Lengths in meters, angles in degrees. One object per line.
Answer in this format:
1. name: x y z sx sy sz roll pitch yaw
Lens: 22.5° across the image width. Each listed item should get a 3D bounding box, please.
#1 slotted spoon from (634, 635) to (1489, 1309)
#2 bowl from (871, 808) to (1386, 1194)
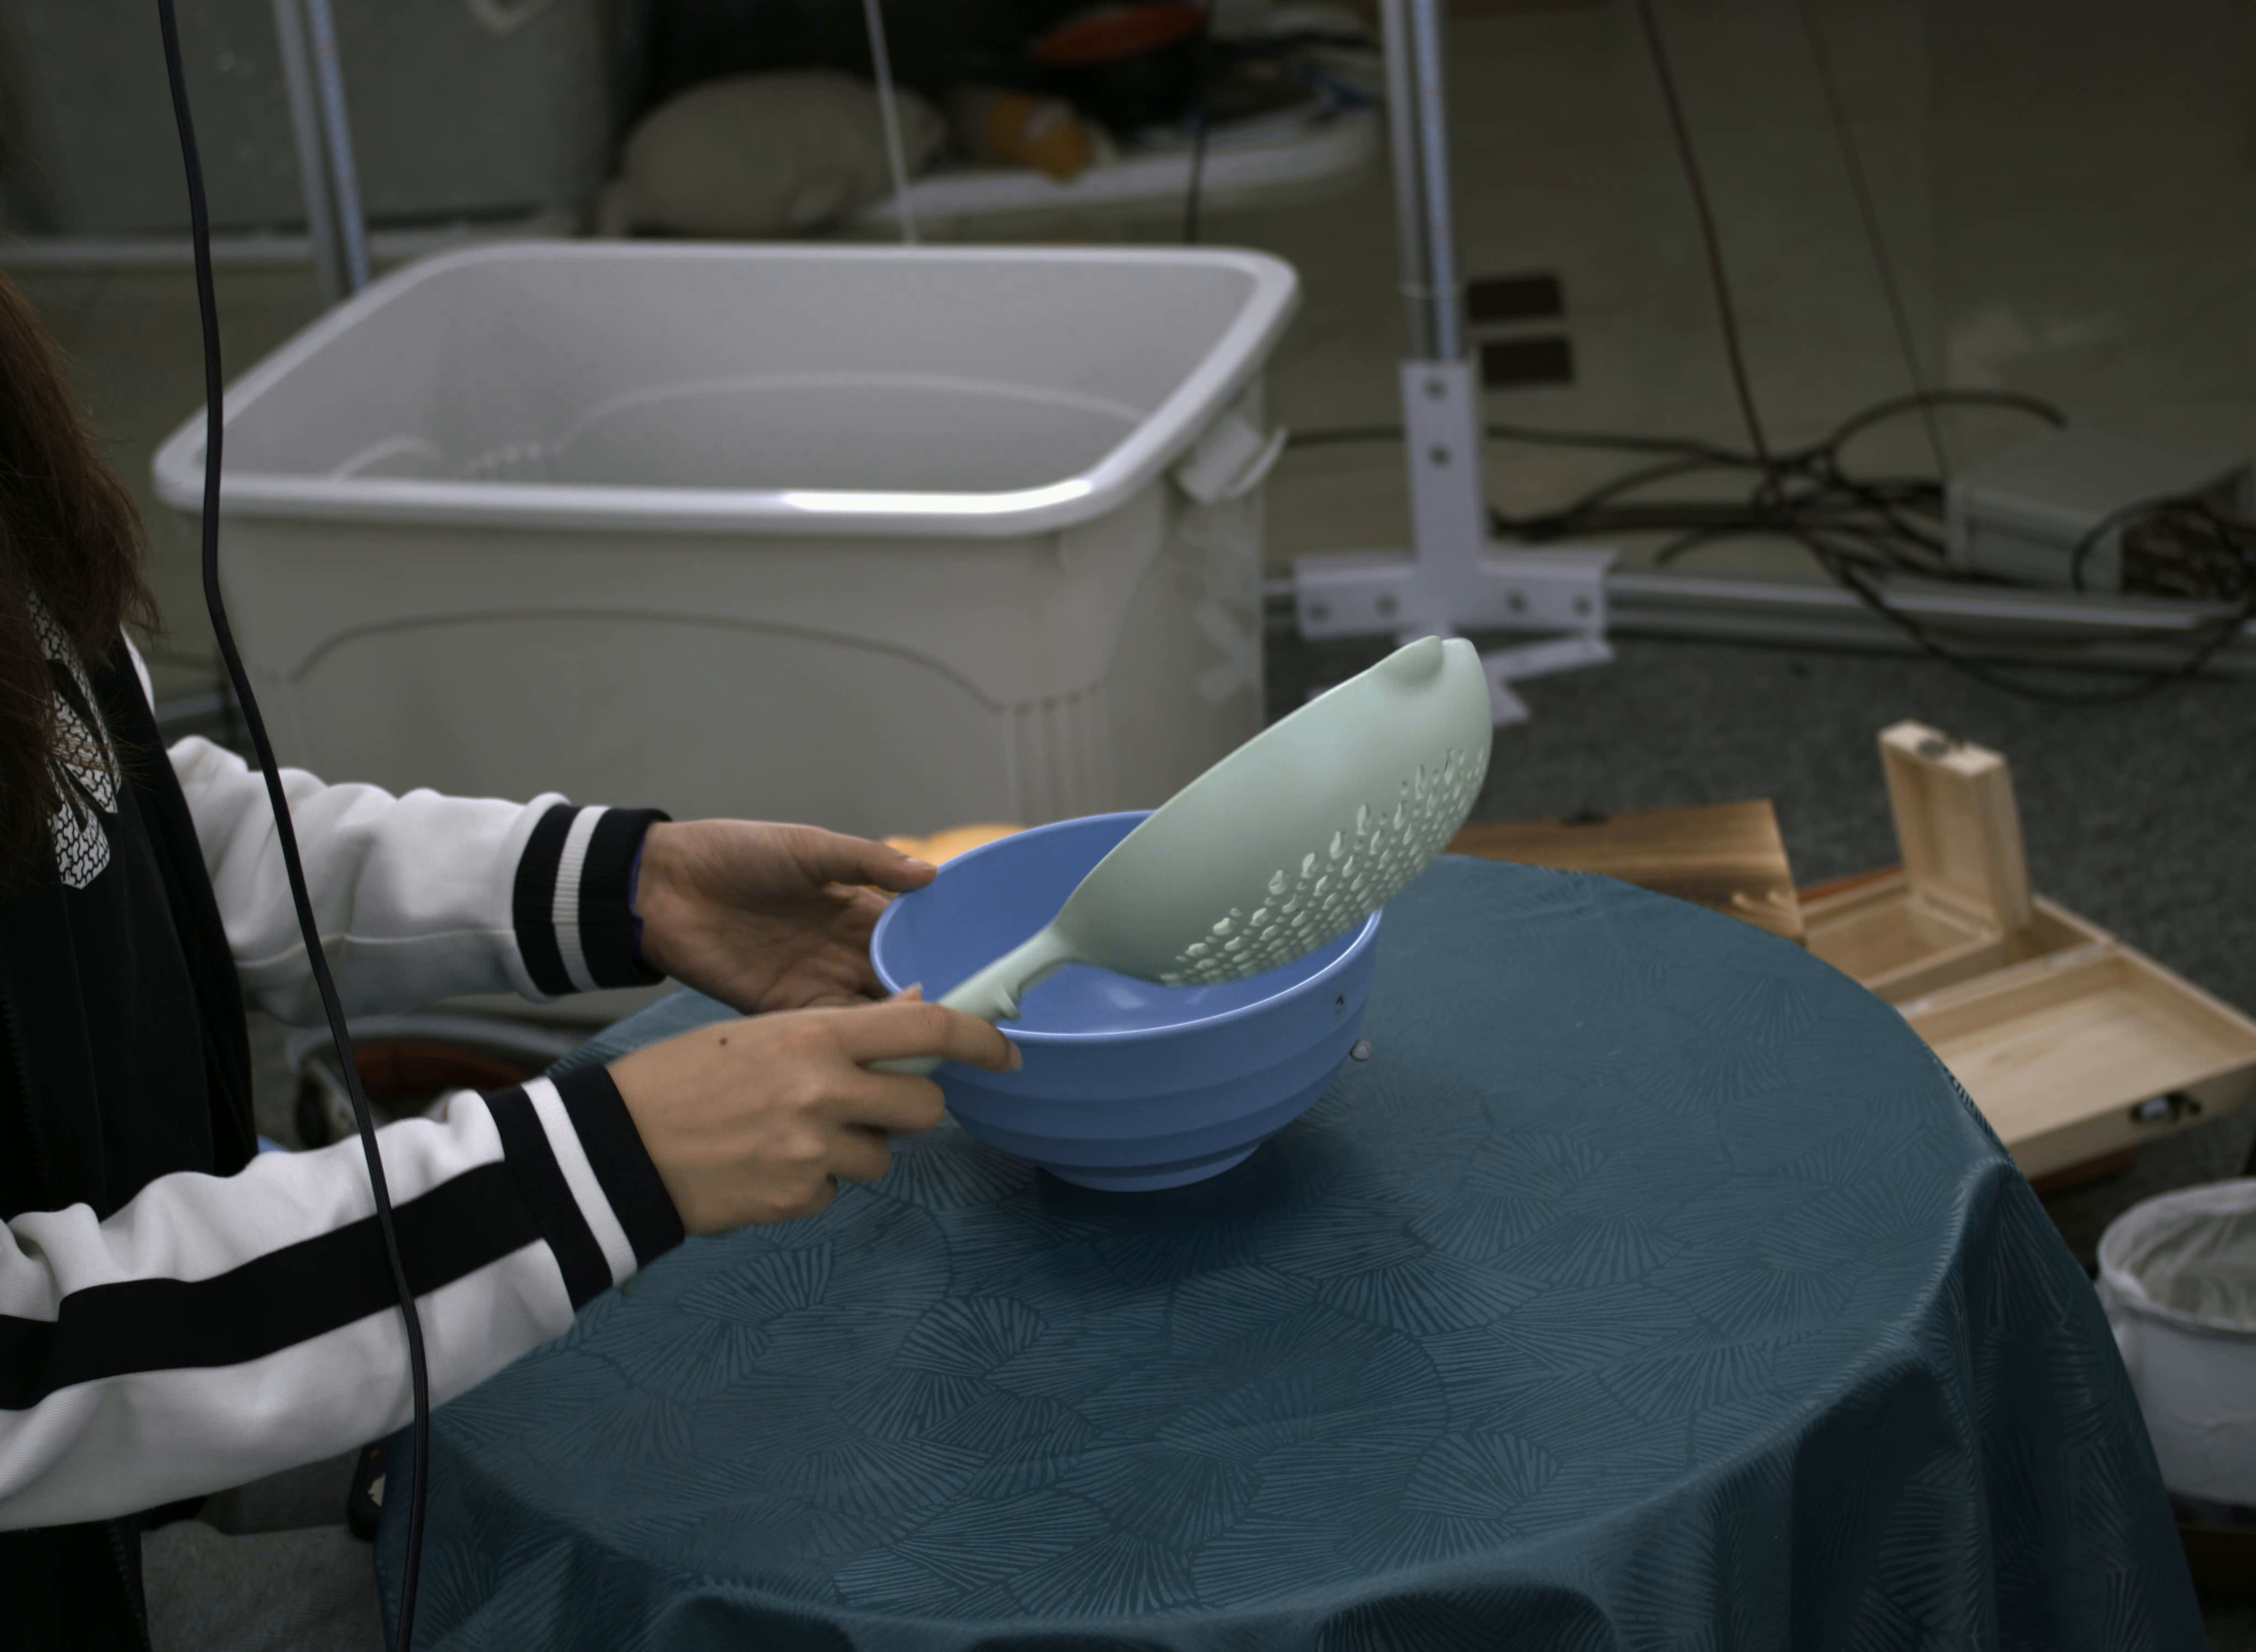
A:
1. slotted spoon: -0.026 0.050 1.942 0.358 0.075 0.170 -27 -8 0
2. bowl: 0.005 0.078 2.166 0.196 0.097 0.193 -5 26 3
